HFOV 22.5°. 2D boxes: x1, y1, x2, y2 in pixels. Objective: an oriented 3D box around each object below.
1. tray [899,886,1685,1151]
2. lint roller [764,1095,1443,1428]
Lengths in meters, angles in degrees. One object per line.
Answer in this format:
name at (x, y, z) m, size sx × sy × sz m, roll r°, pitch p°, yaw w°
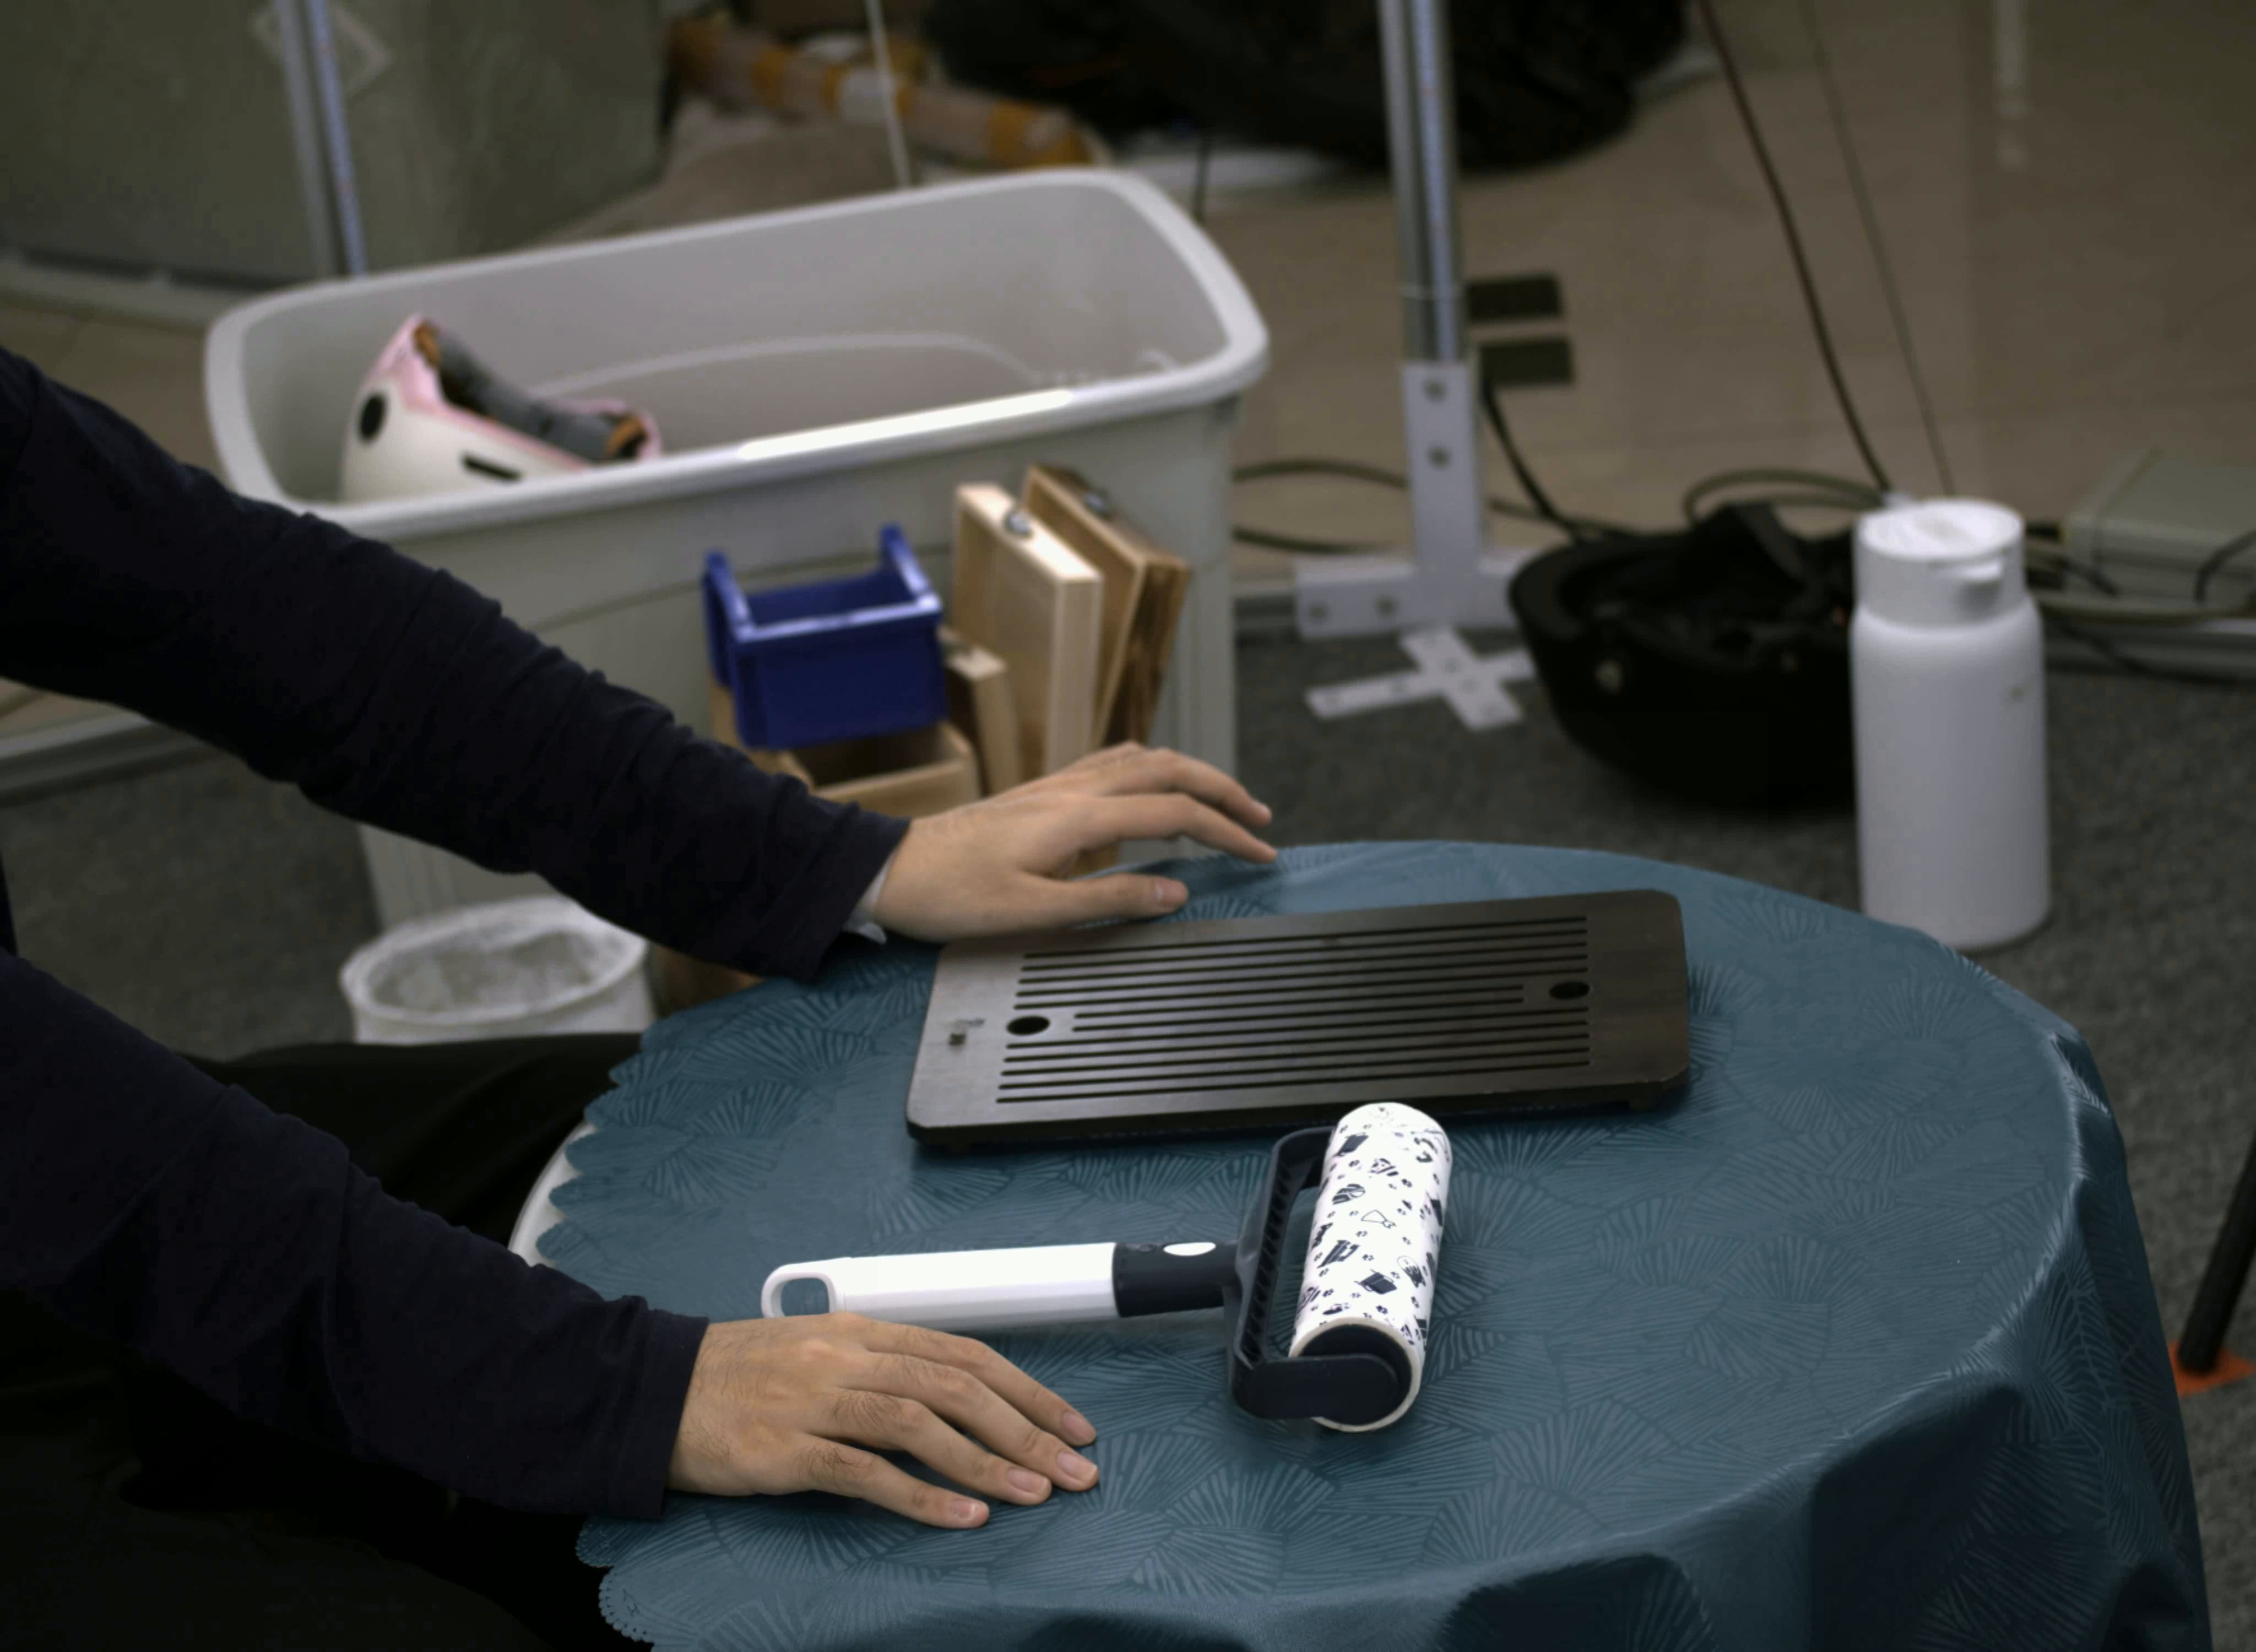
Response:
tray at (0.067, 0.077, 2.247) m, size 0.305 × 0.019 × 0.167 m, roll -4°, pitch 25°, yaw 7°
lint roller at (-0.013, 0.165, 2.051) m, size 0.247 × 0.051 × 0.173 m, roll -5°, pitch 26°, yaw 9°
